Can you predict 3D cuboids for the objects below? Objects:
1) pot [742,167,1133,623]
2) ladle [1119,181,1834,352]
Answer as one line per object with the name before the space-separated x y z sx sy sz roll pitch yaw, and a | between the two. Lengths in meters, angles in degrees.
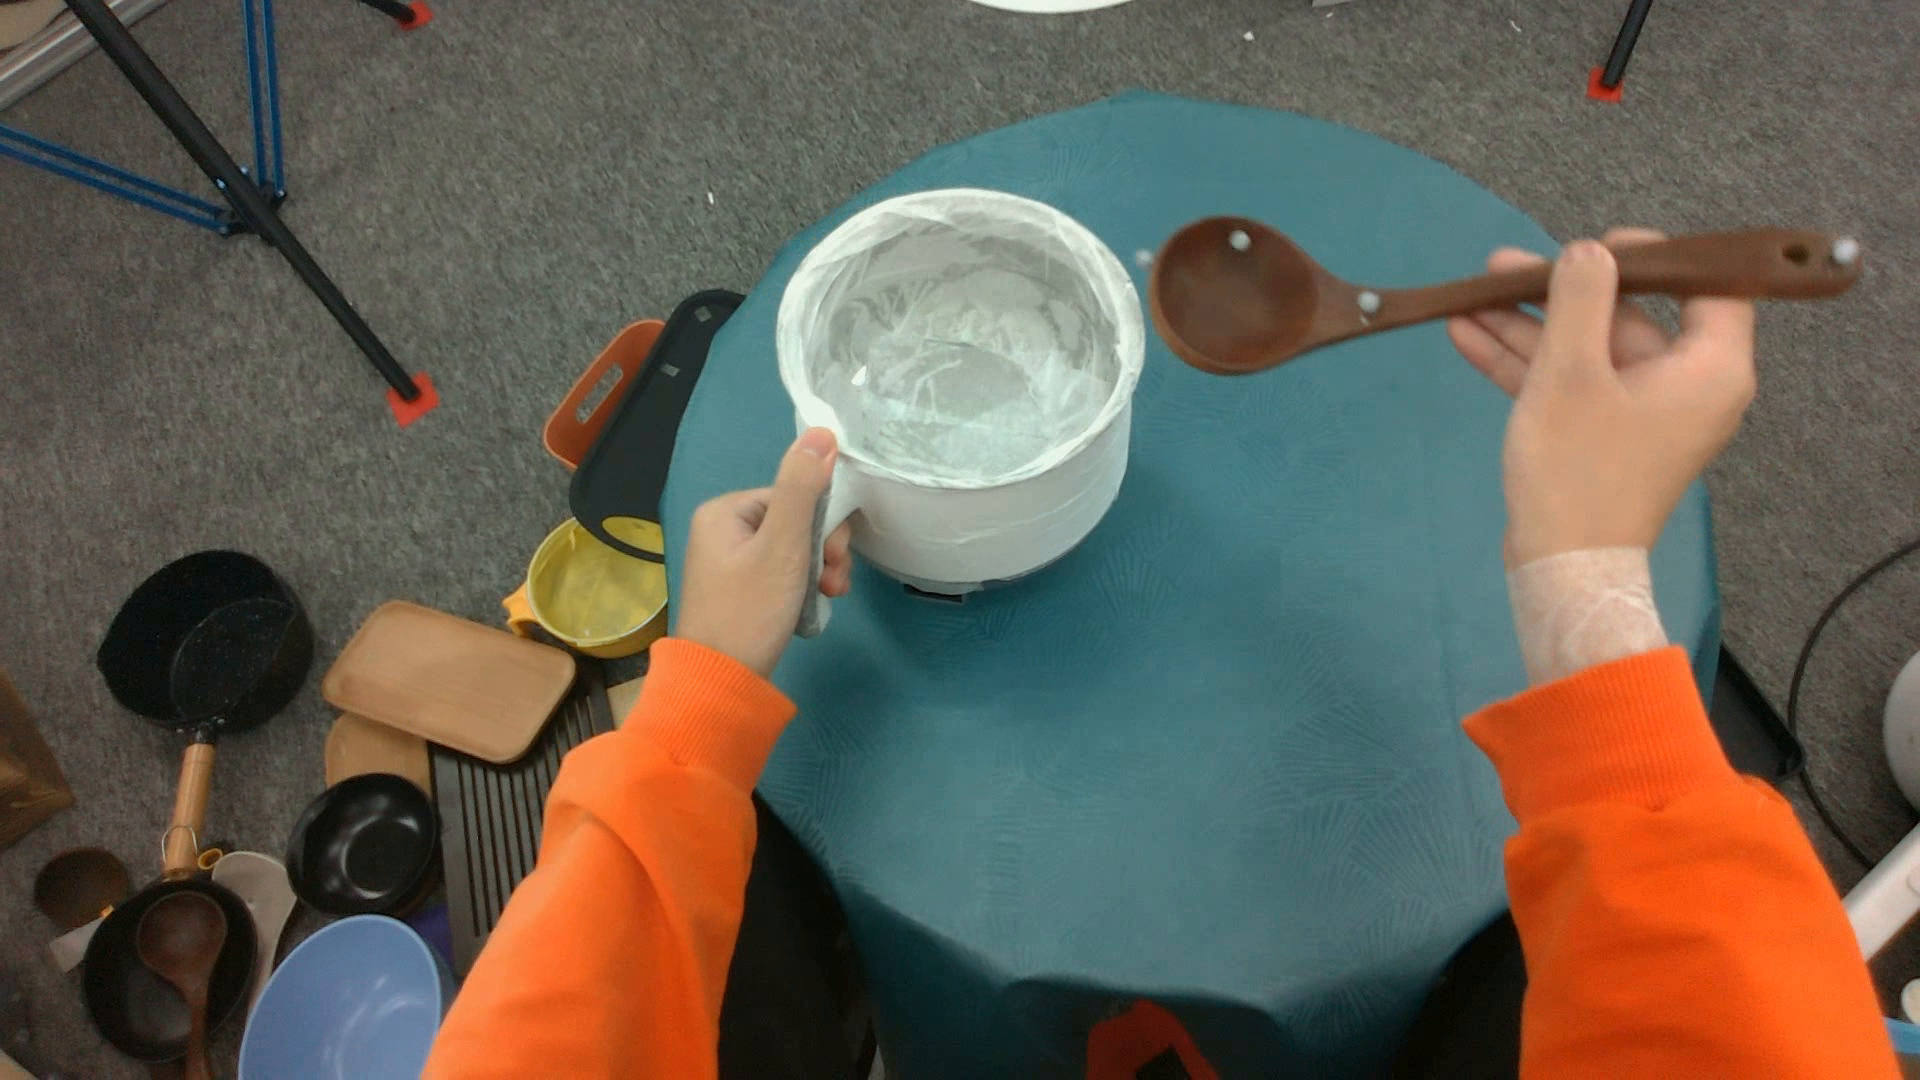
pot | -0.023 -0.062 0.701 0.179 0.136 0.234 35 67 17
ladle | 0.186 -0.117 0.536 0.259 0.065 0.076 -1 75 33
